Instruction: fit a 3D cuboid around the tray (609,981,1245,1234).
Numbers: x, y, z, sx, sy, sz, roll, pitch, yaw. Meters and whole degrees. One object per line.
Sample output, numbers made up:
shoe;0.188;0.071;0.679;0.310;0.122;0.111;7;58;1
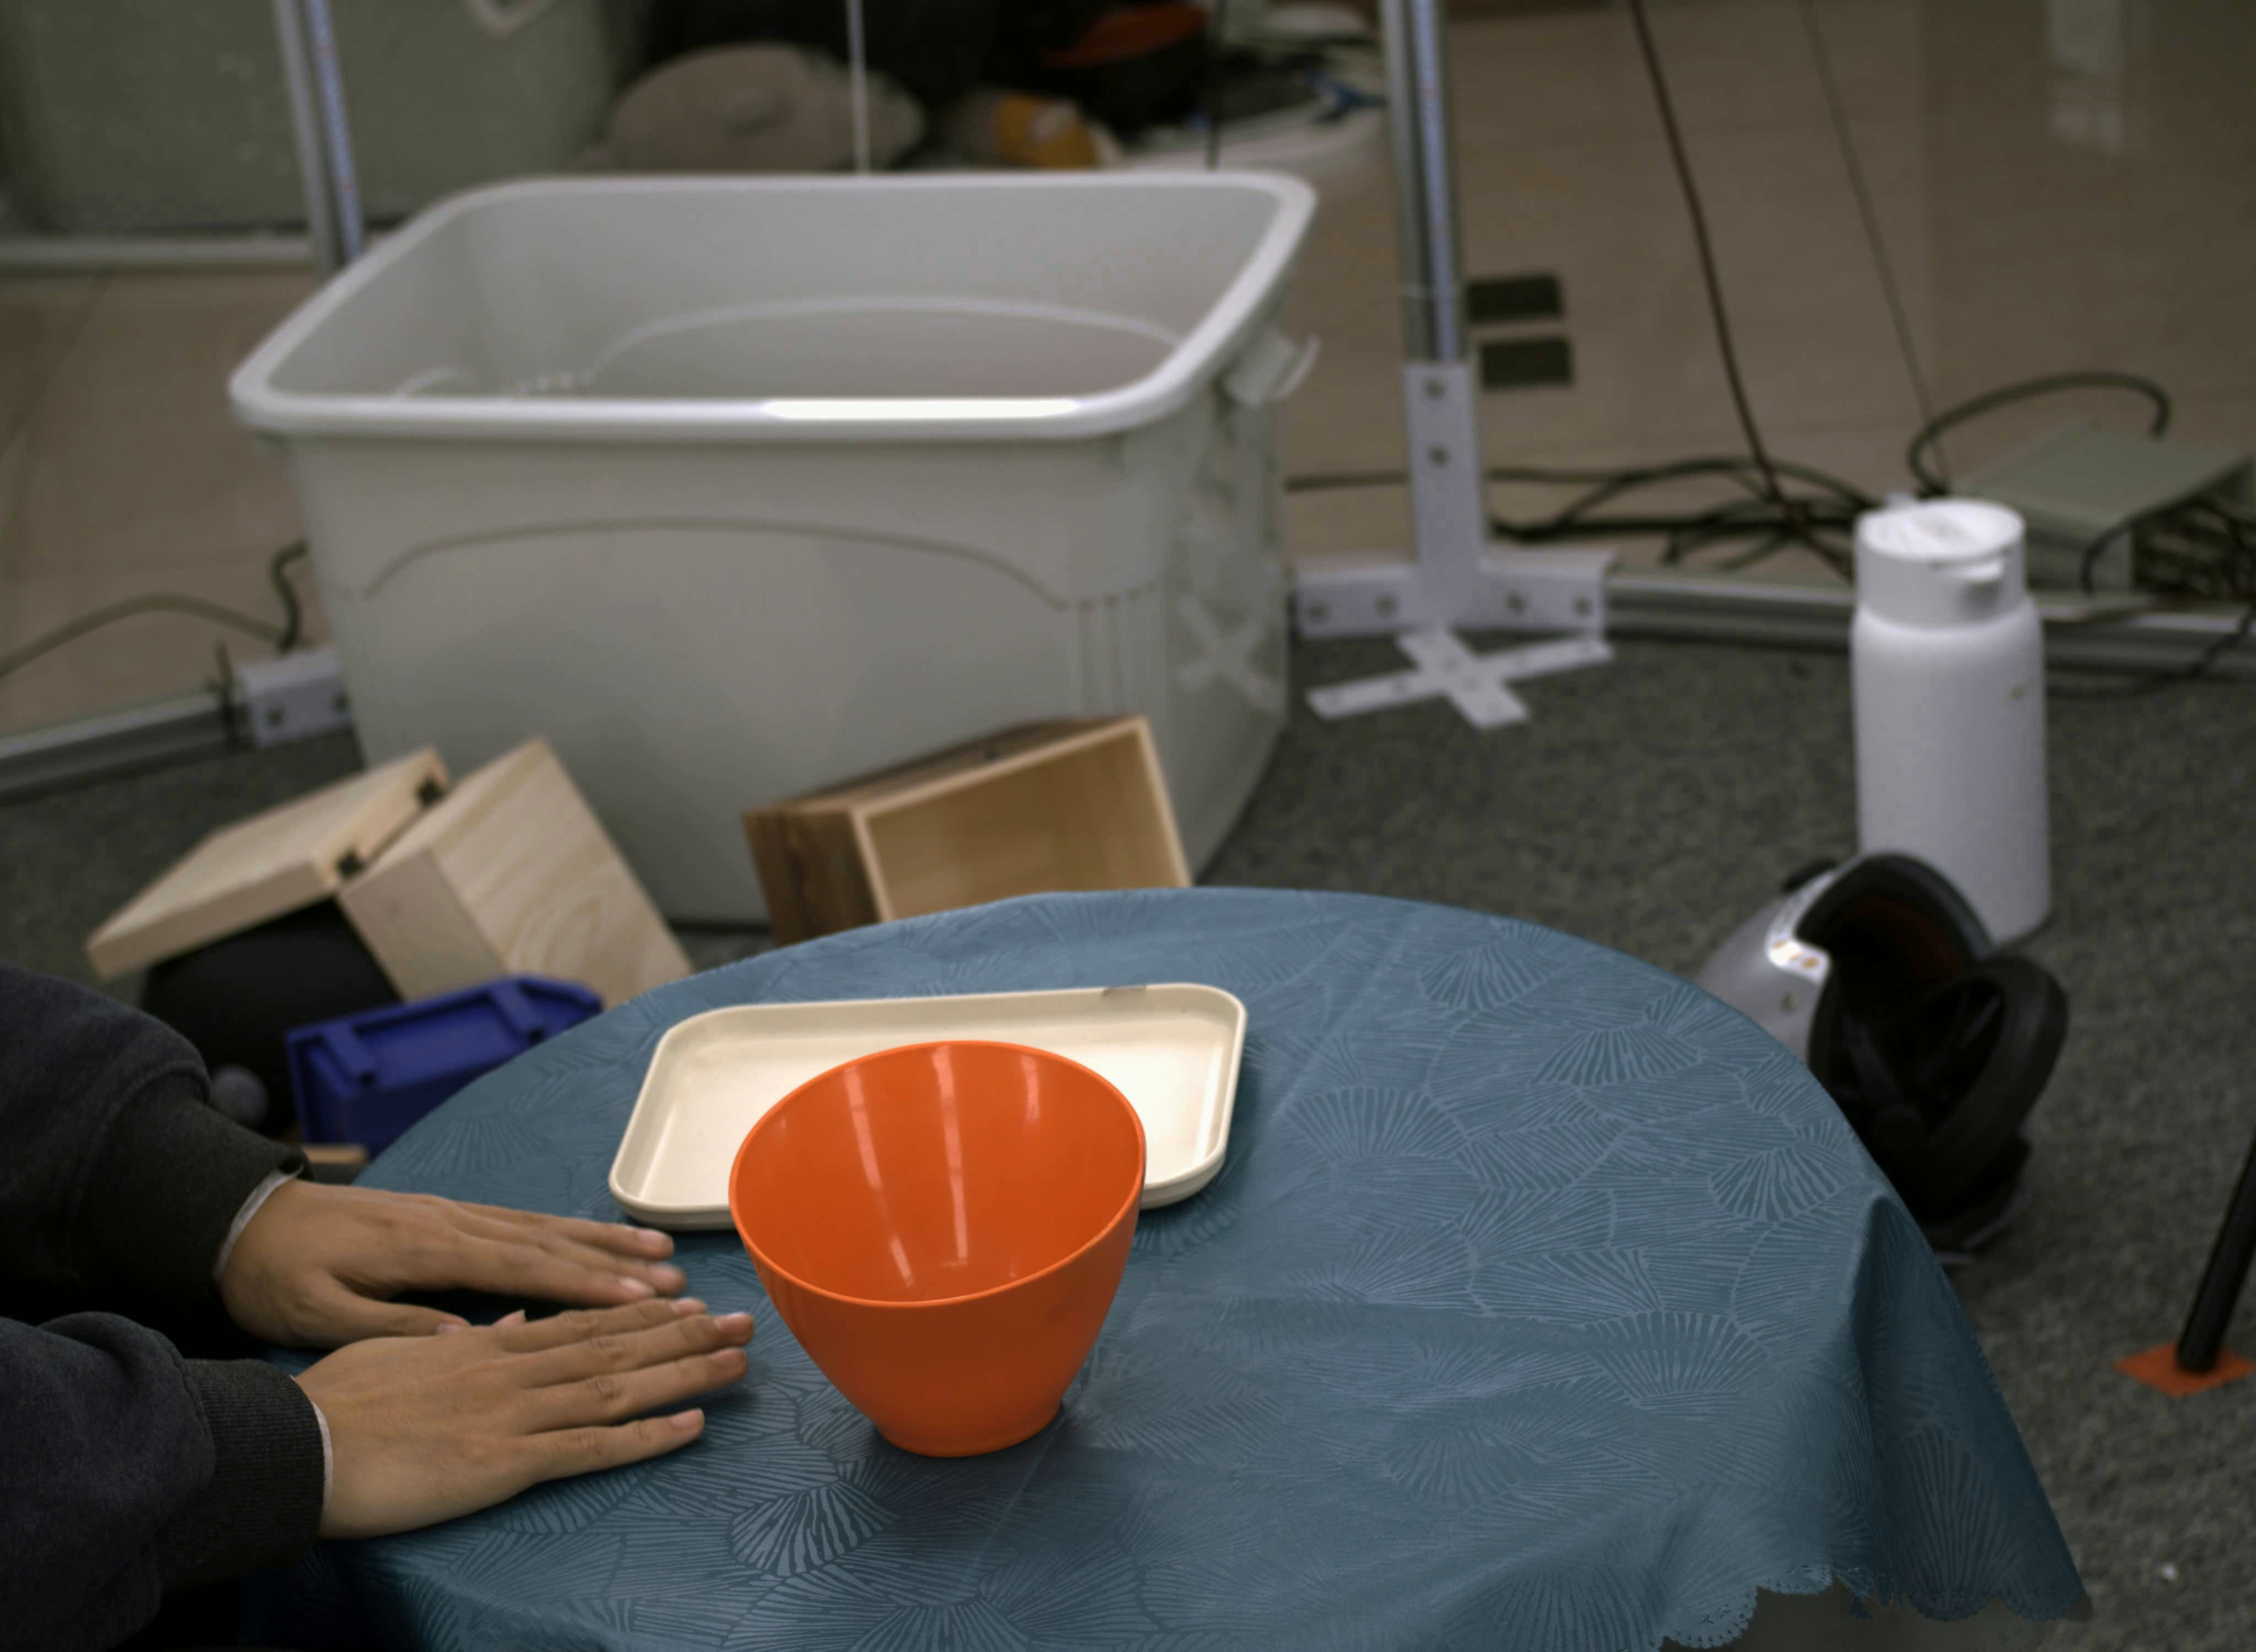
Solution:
tray;-0.075;0.110;2.206;0.239;0.018;0.169;-3;26;7

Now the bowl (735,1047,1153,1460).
bowl;-0.061;0.157;2.002;0.148;0.106;0.146;-4;25;2
